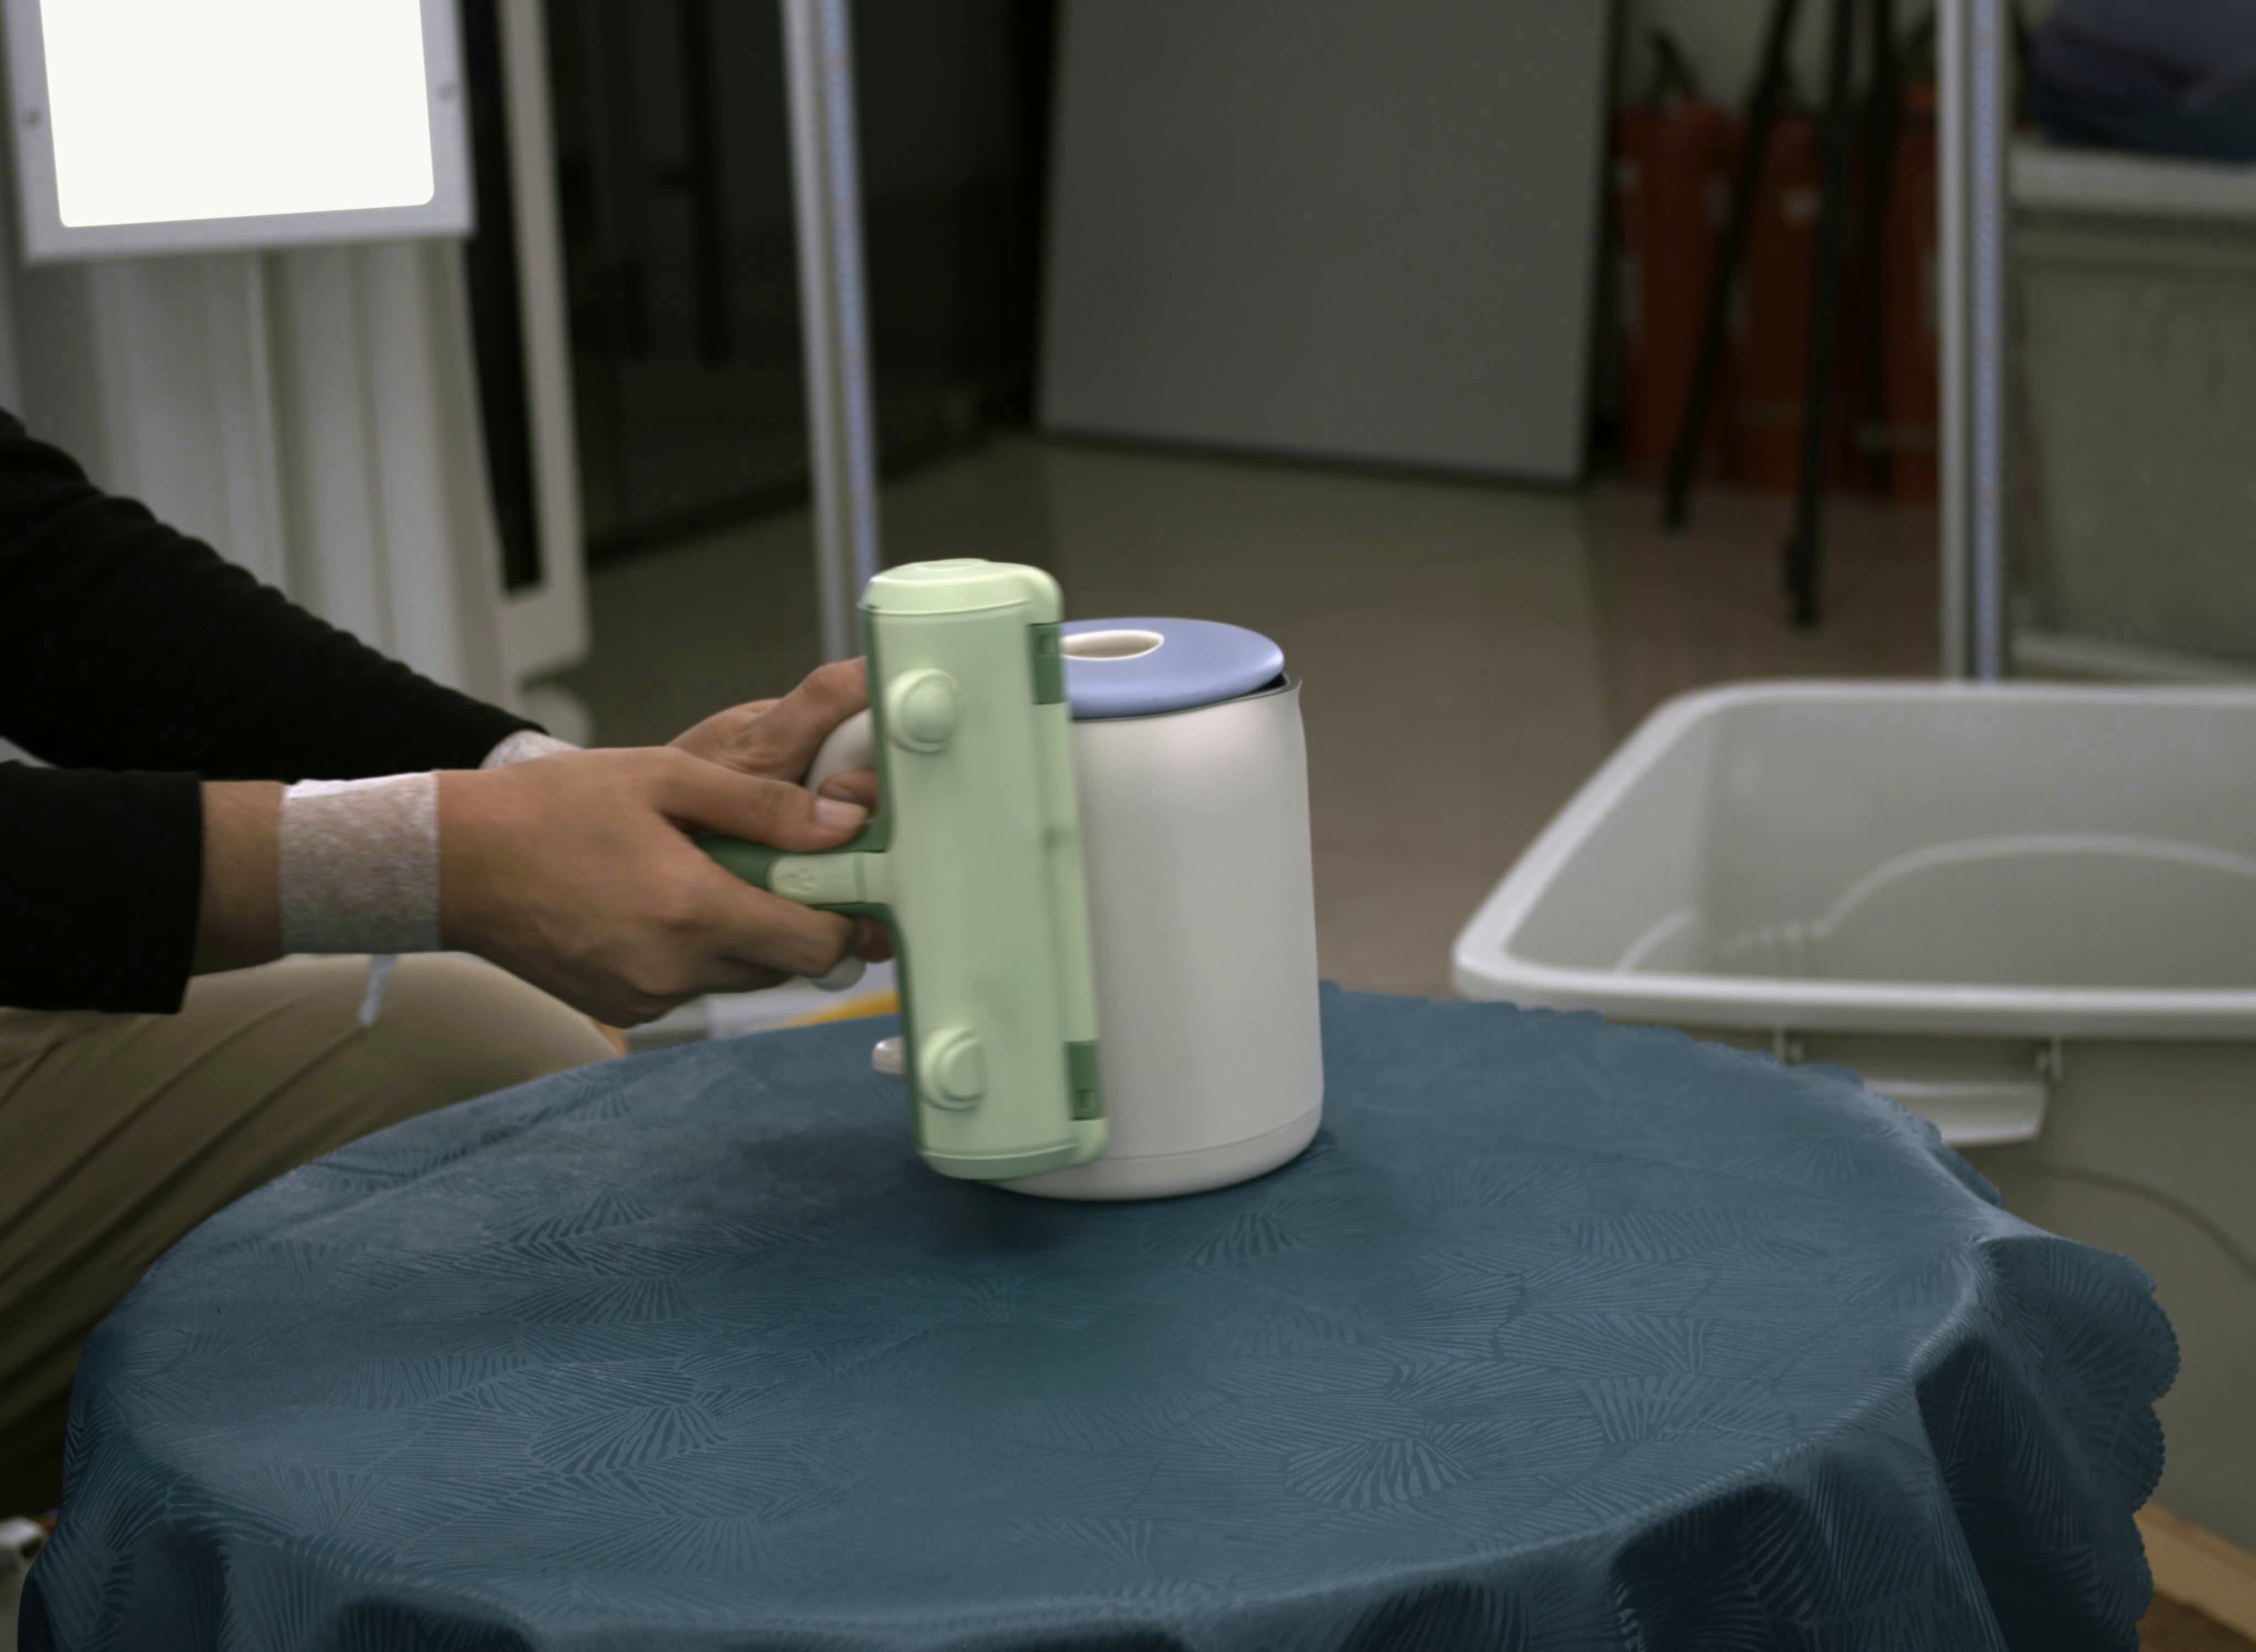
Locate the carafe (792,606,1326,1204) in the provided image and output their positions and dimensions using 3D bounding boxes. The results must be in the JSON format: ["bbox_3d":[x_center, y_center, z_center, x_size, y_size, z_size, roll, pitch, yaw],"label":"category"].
[{"bbox_3d":[-0.025,0.025,1.804,0.191,0.184,0.131,-1,13,22],"label":"carafe"}]

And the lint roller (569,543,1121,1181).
[{"bbox_3d":[-0.098,0.016,1.714,0.182,0.201,0.082,-3,10,12],"label":"lint roller"}]
